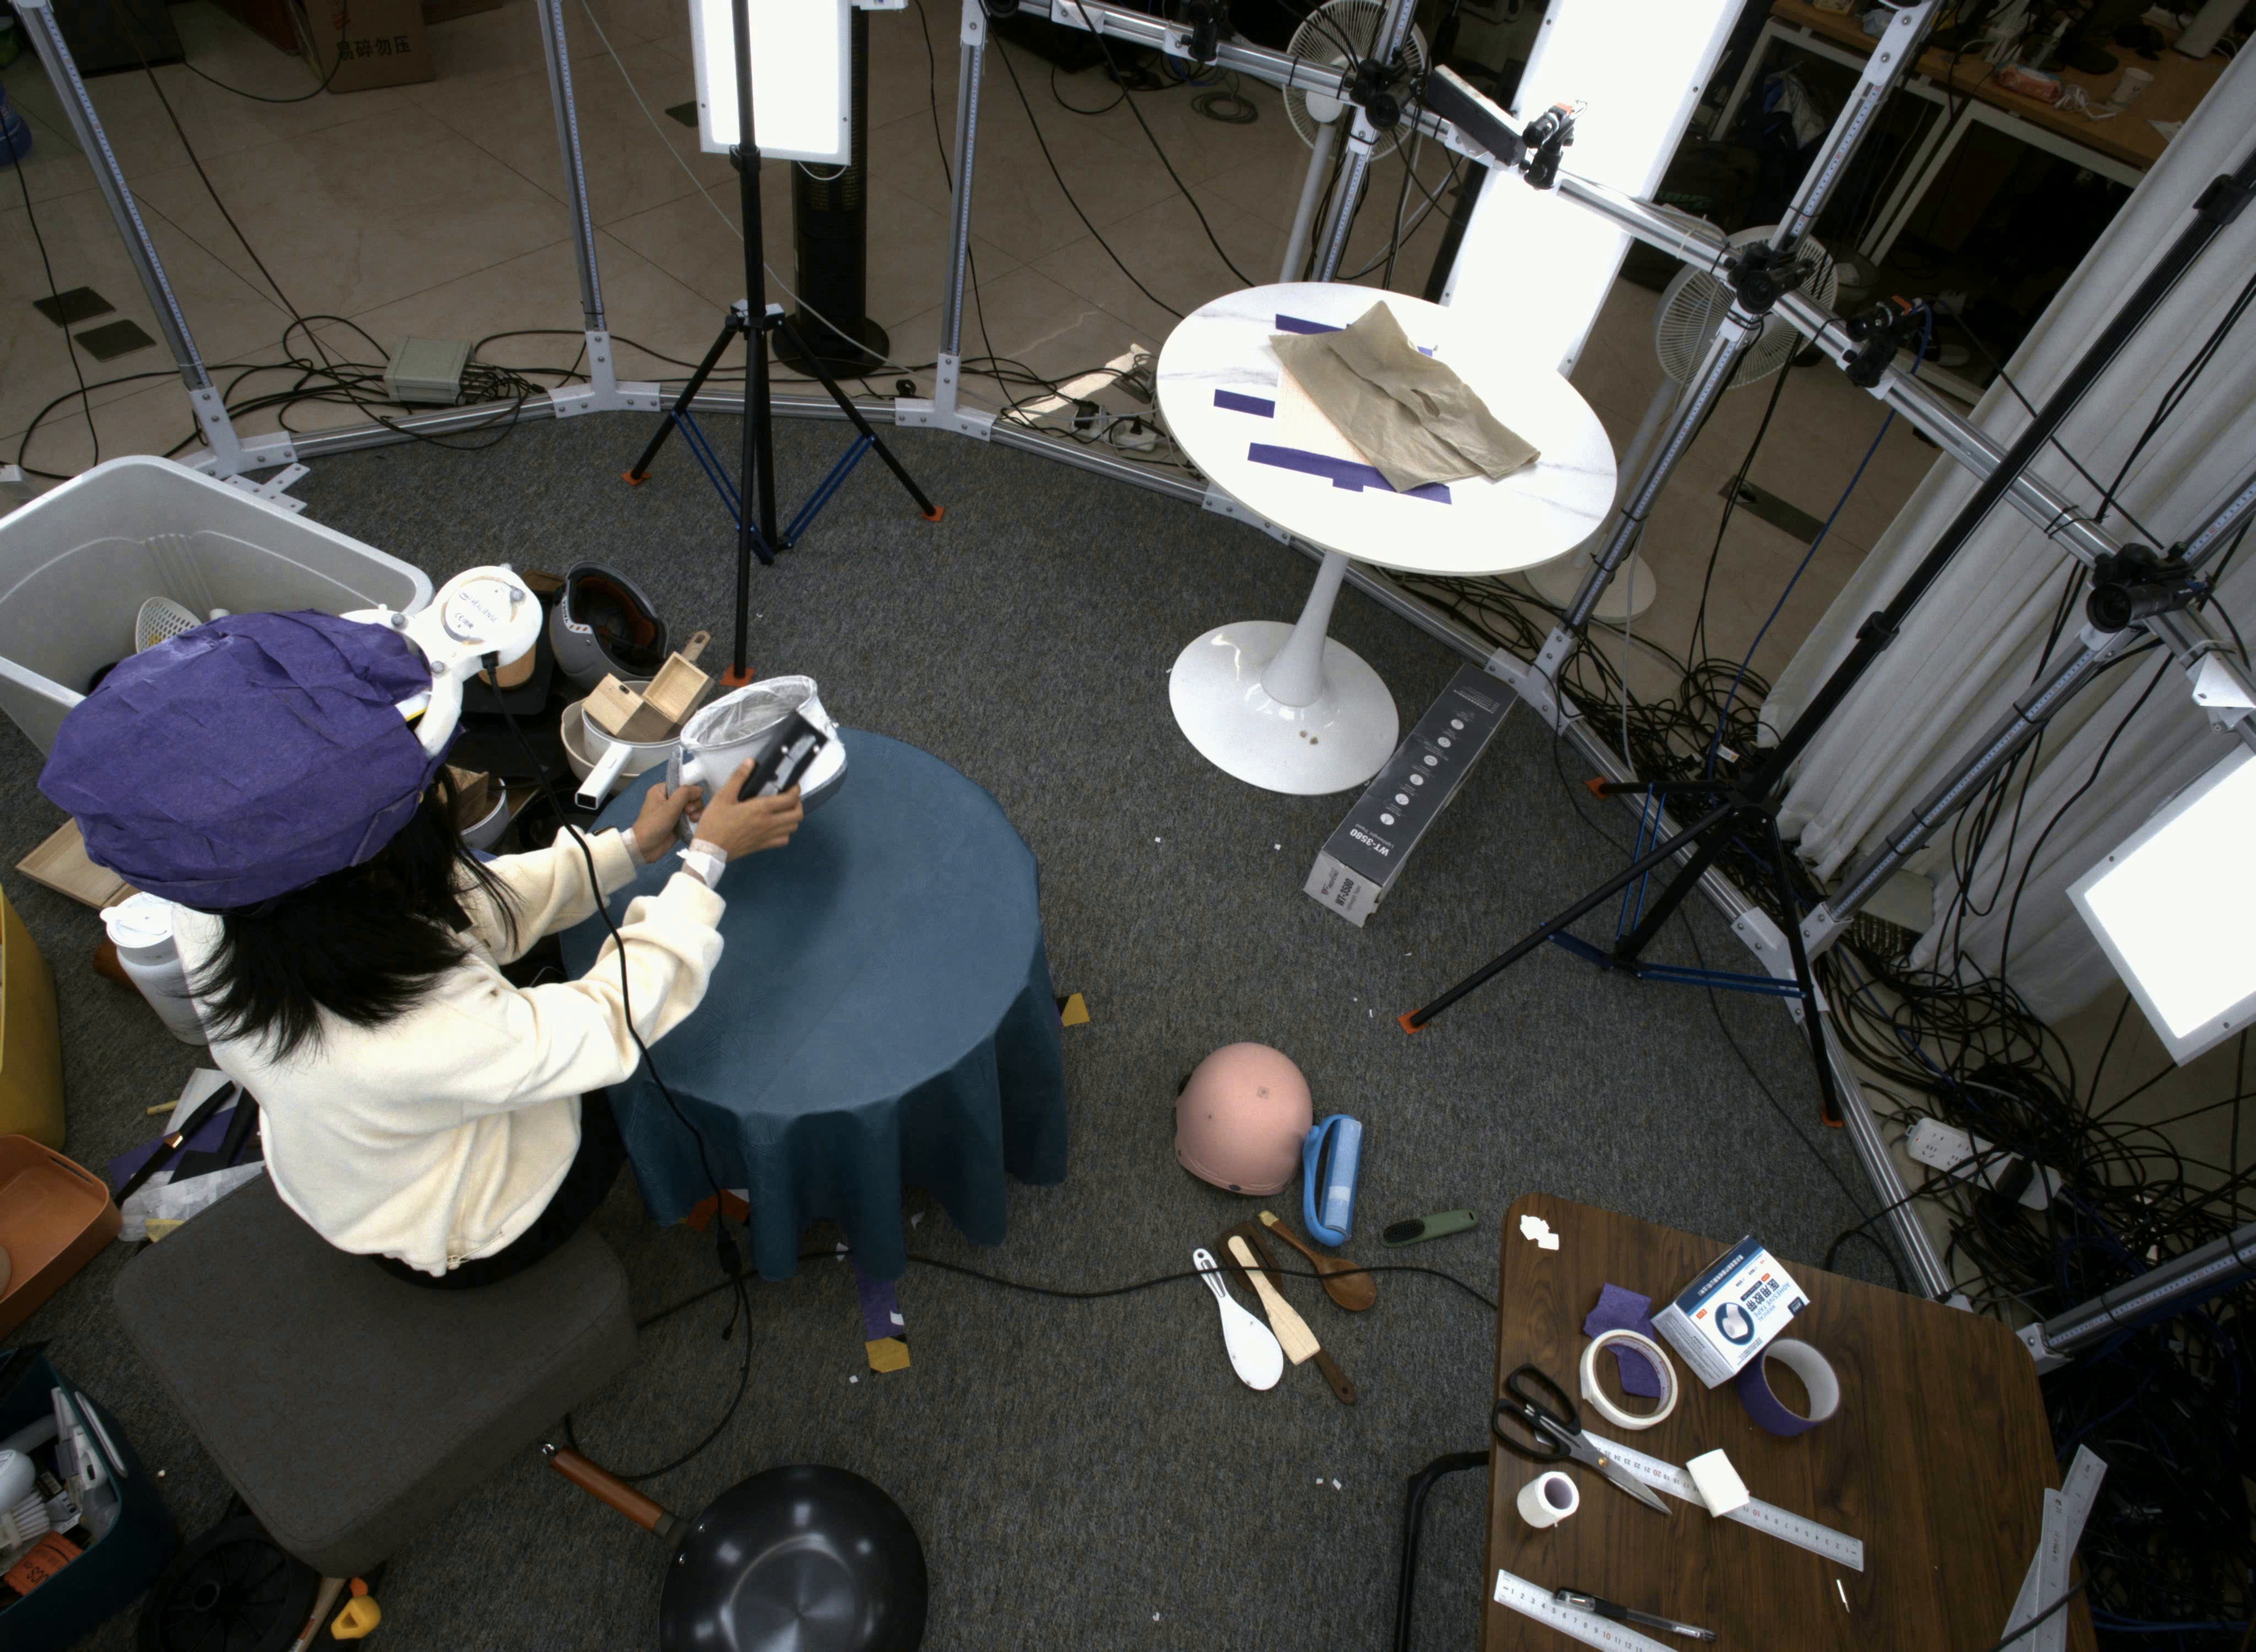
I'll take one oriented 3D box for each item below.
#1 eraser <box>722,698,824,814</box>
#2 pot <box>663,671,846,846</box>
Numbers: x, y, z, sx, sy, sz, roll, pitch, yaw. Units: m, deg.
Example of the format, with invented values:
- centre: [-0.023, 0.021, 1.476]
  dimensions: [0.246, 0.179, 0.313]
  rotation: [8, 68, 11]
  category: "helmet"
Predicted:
- centre: [-0.406, -0.081, 1.477]
  dimensions: [0.029, 0.055, 0.126]
  rotation: [27, 80, 46]
  category: "eraser"
- centre: [-0.468, -0.078, 1.584]
  dimensions: [0.234, 0.141, 0.172]
  rotation: [-36, 34, -30]
  category: "pot"
